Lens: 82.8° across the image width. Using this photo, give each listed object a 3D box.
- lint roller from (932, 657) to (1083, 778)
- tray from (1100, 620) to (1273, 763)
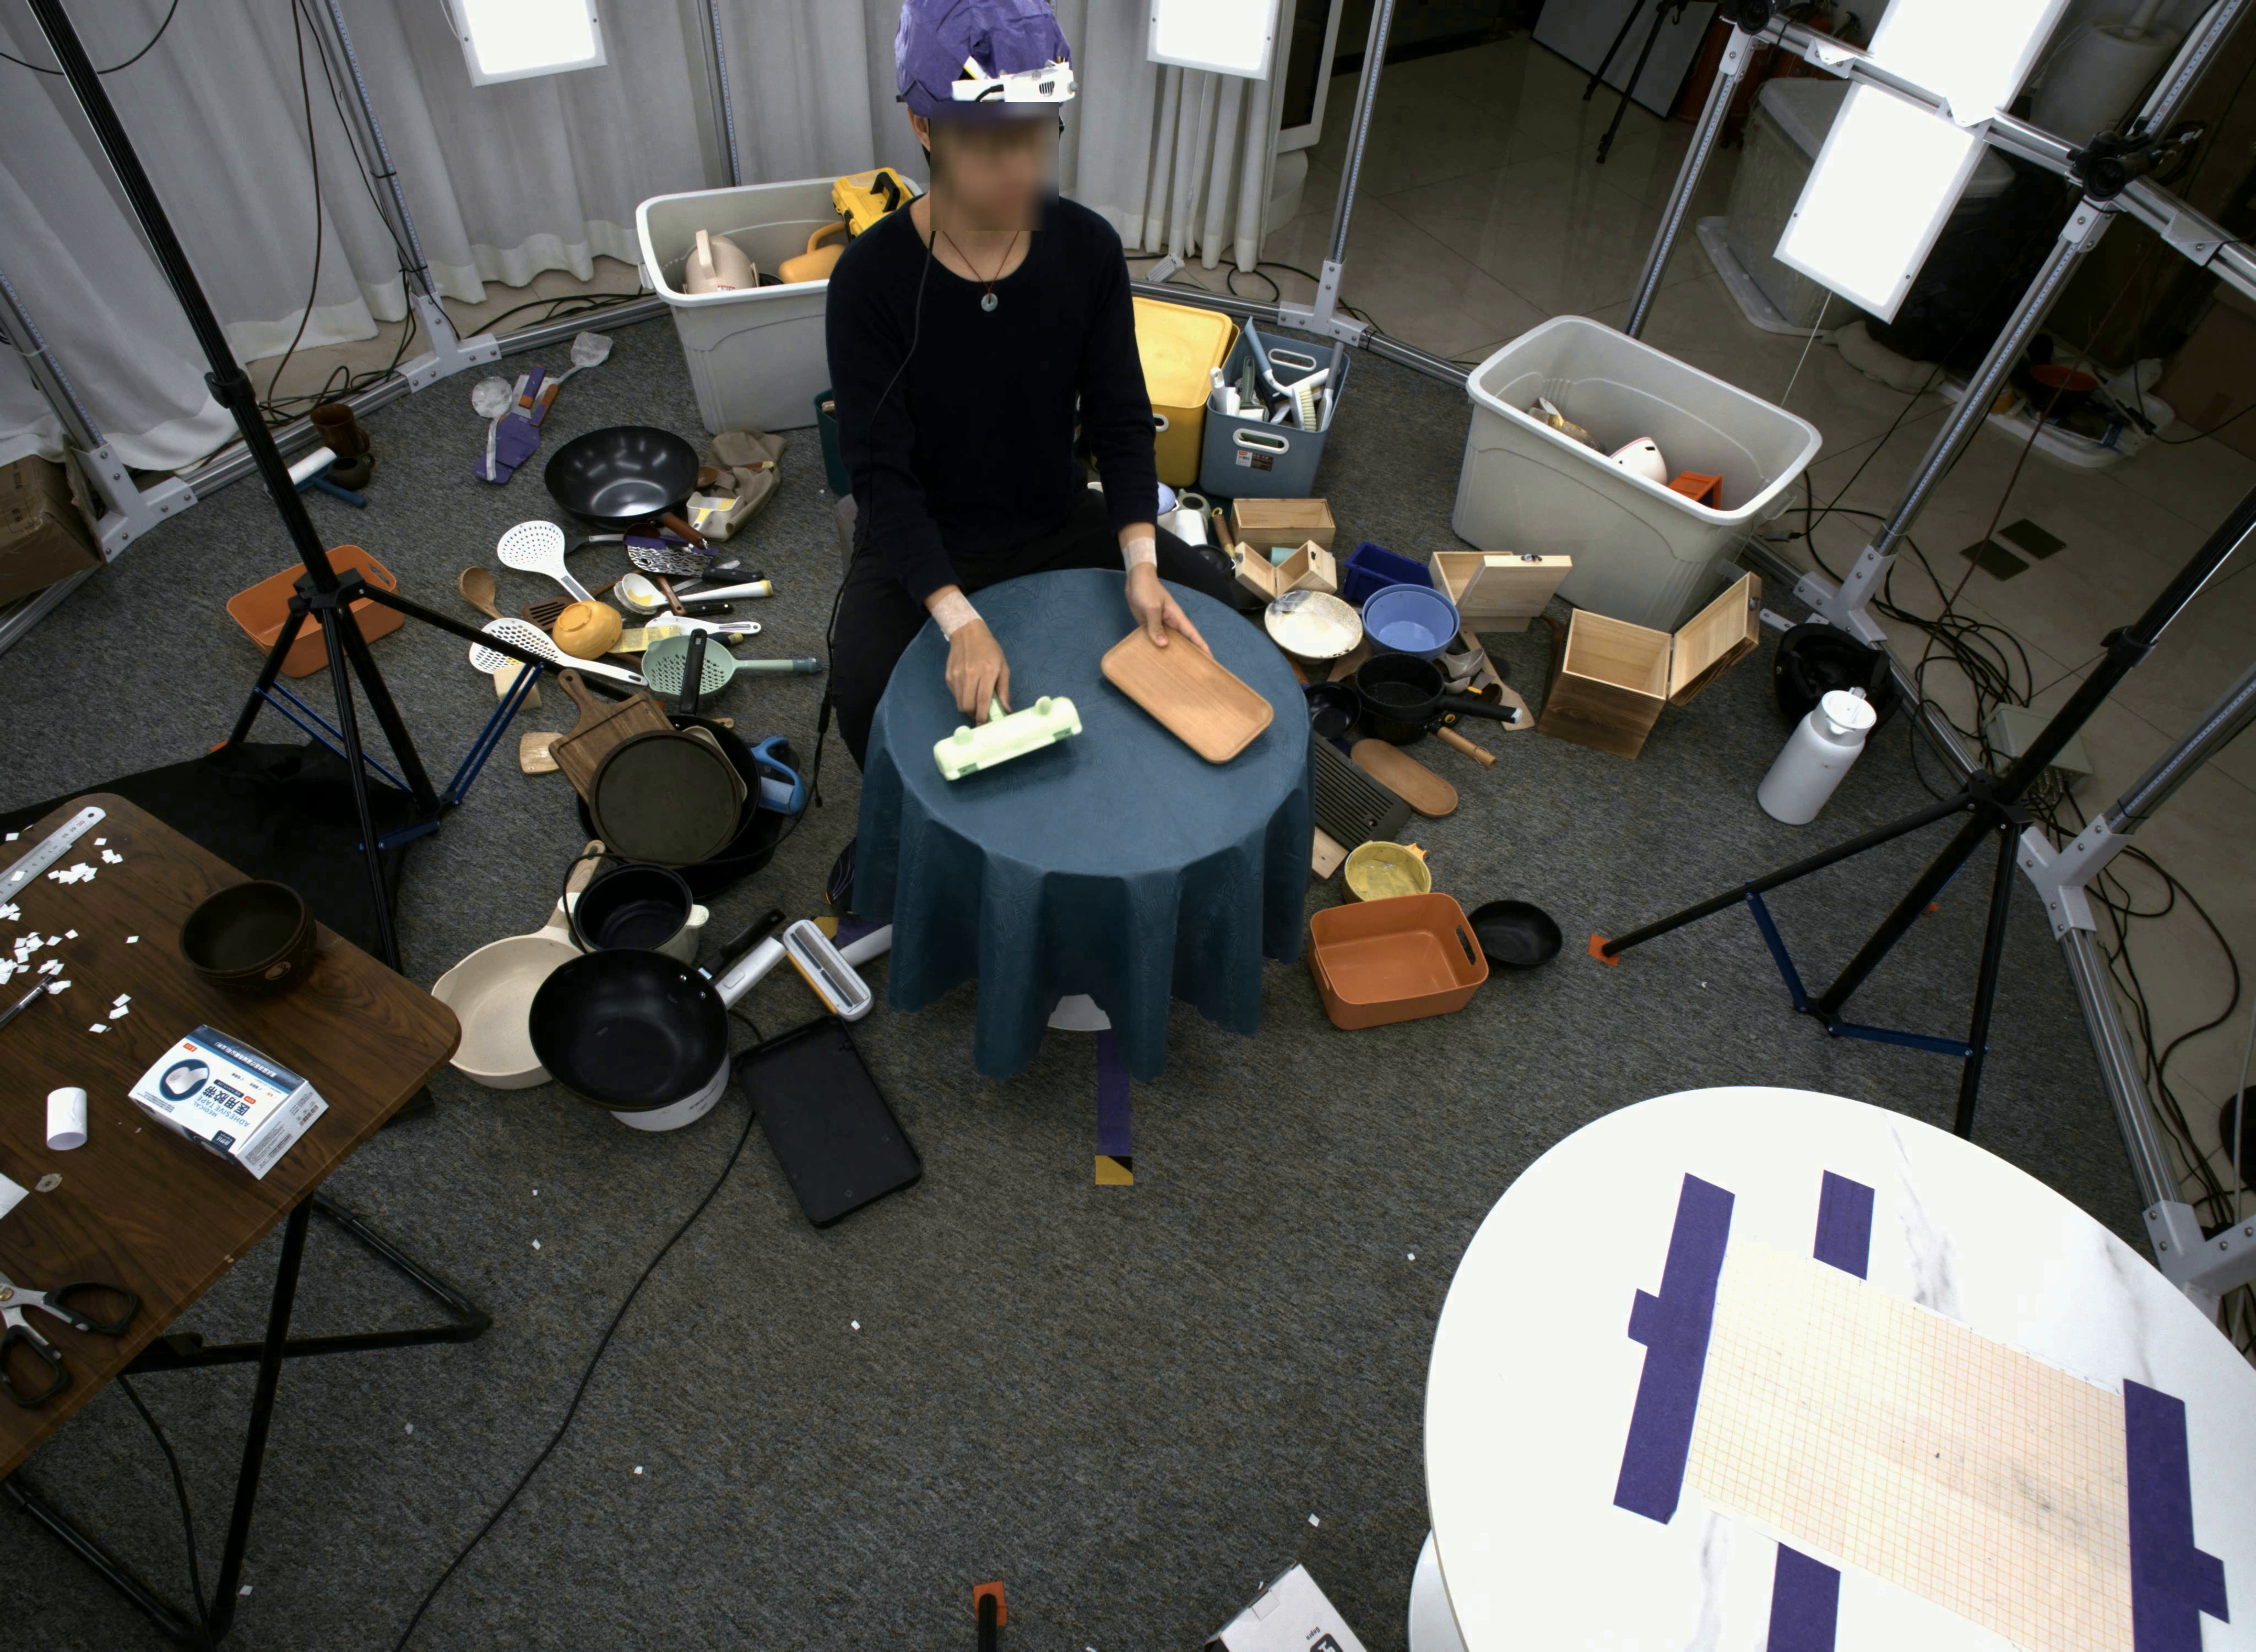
[{"bbox_3d":[-0.184,-0.170,1.725,0.199,0.080,0.186,-22,66,-15],"label":"lint roller"},{"bbox_3d":[0.080,-0.192,1.808,0.131,0.022,0.254,-39,63,-20],"label":"tray"}]
